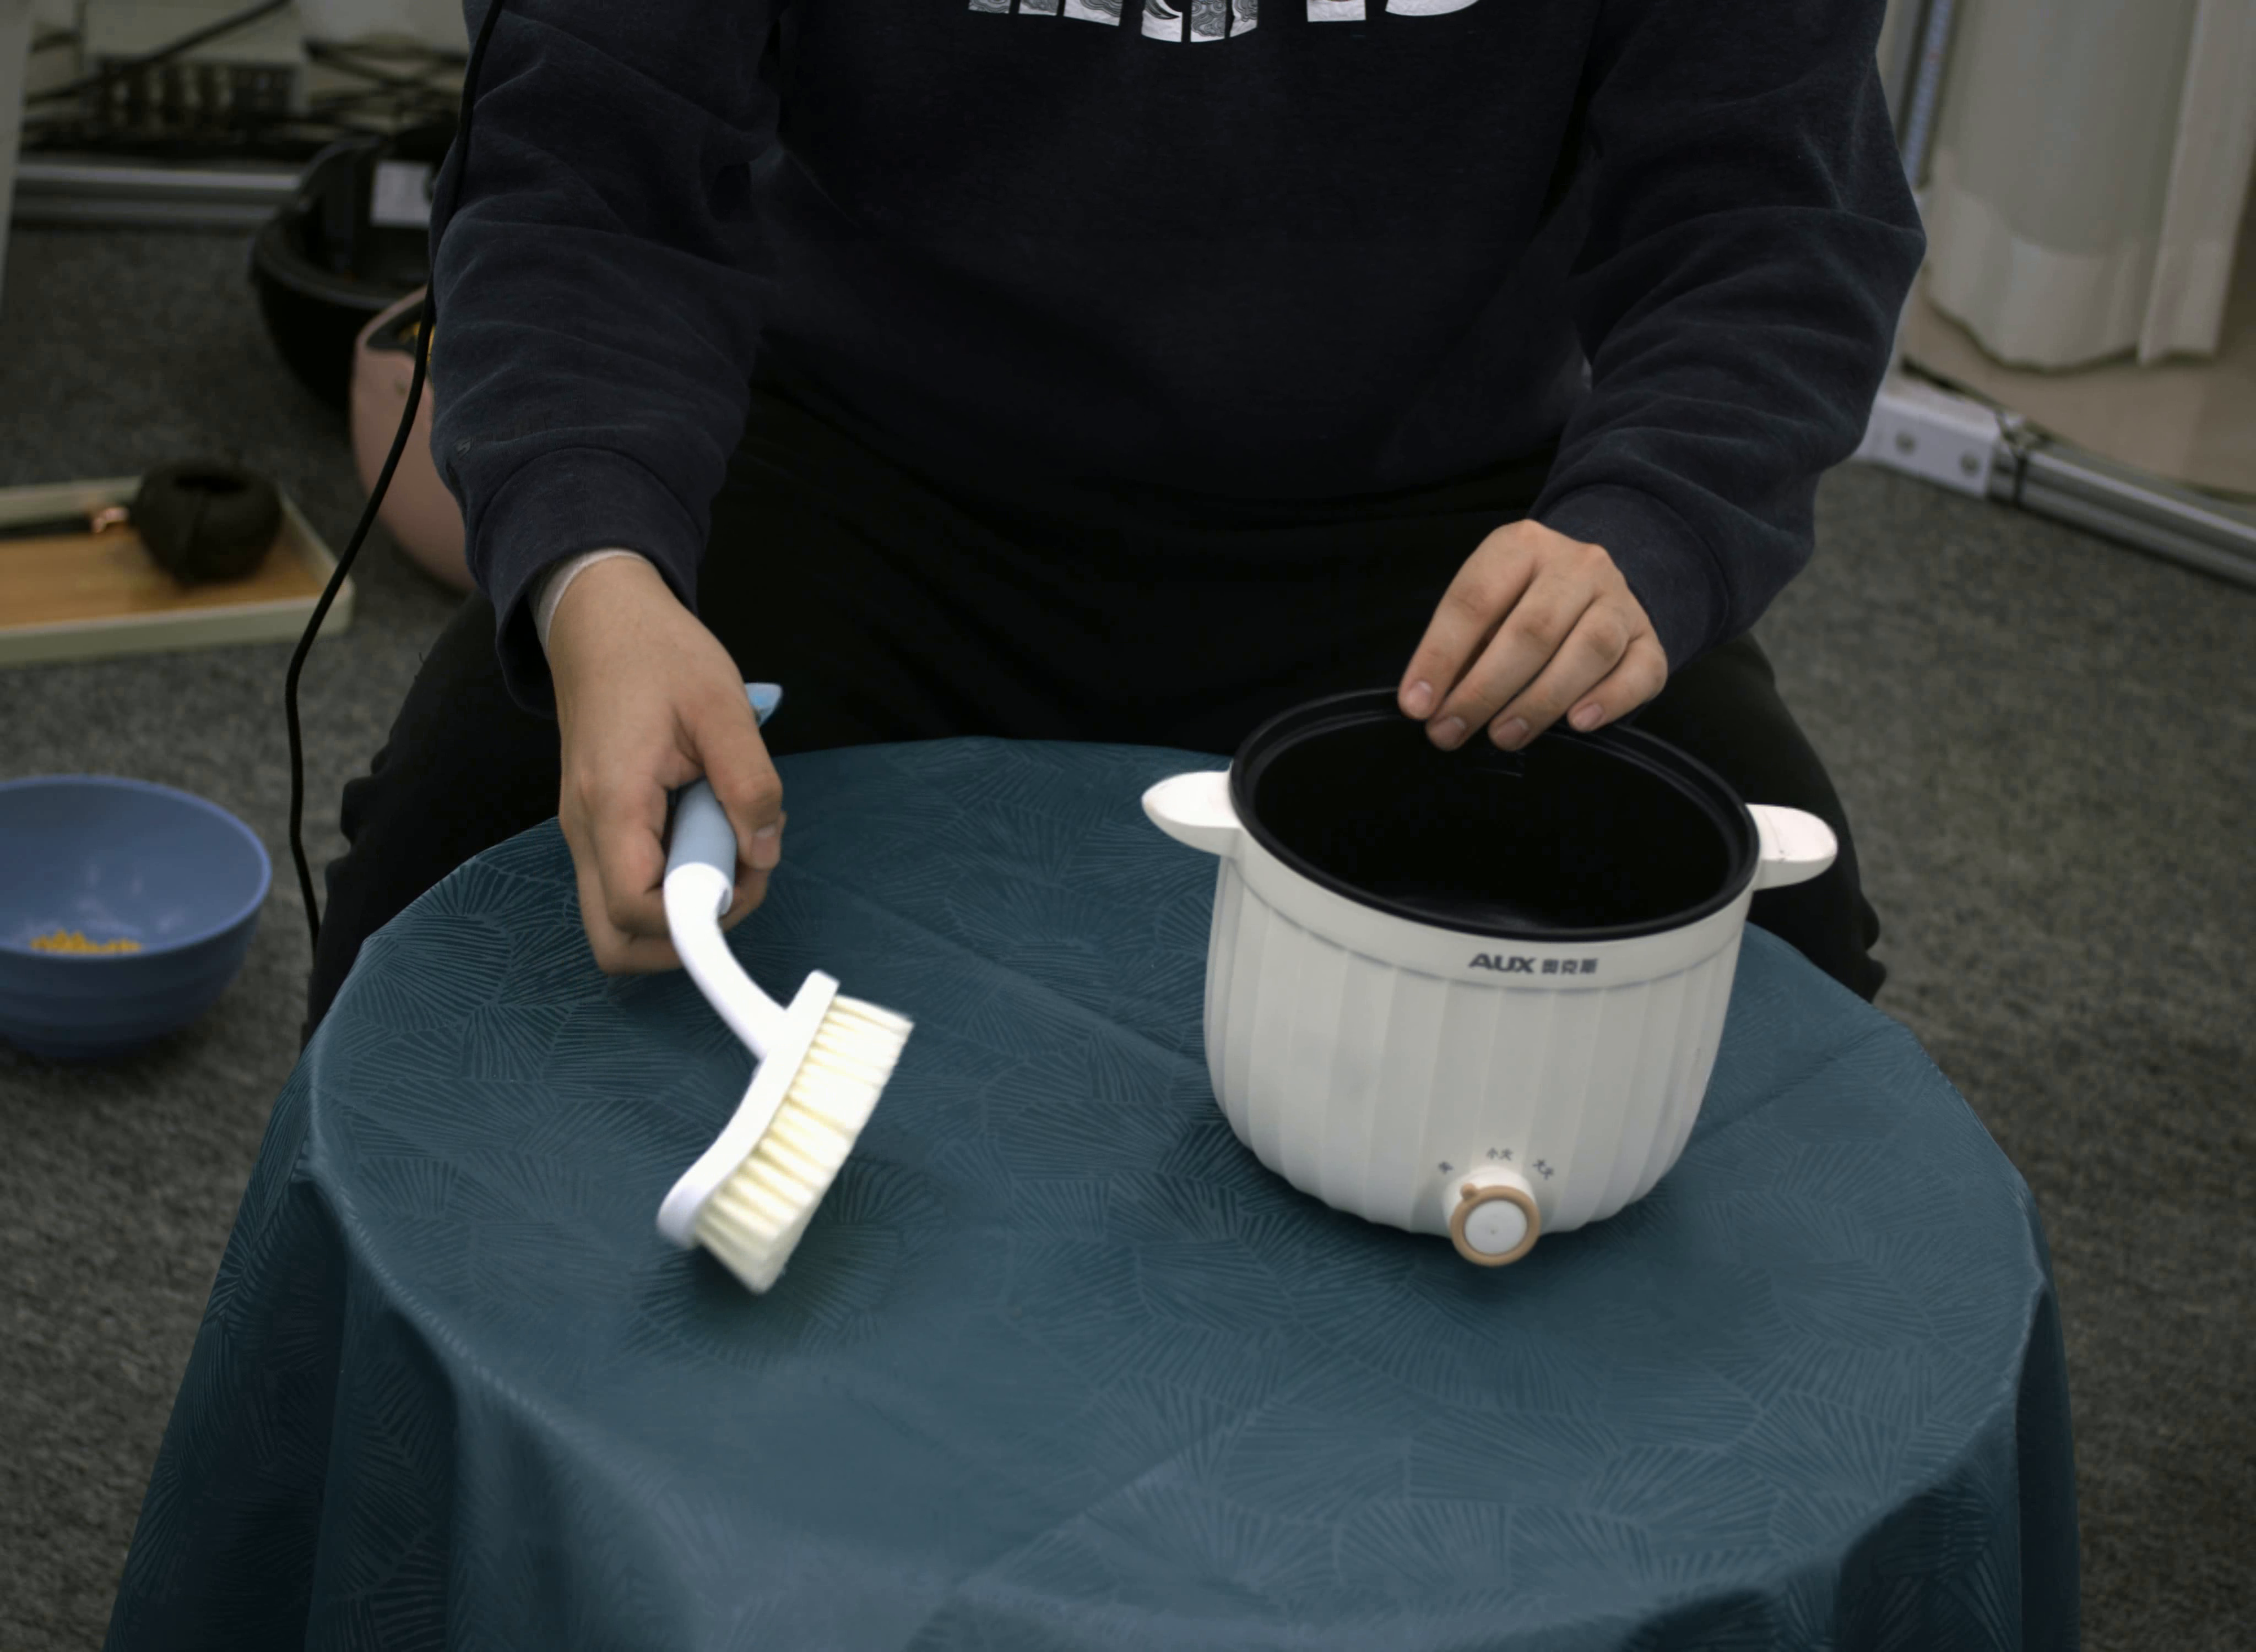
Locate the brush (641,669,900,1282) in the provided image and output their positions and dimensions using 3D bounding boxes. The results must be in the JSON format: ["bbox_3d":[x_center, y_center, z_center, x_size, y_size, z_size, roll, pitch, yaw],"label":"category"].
[{"bbox_3d":[-0.113,0.045,1.829,0.083,0.084,0.327,-25,29,16],"label":"brush"}]

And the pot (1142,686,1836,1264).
[{"bbox_3d":[0.118,0.054,1.819,0.239,0.142,0.192,2,24,-7],"label":"pot"}]
